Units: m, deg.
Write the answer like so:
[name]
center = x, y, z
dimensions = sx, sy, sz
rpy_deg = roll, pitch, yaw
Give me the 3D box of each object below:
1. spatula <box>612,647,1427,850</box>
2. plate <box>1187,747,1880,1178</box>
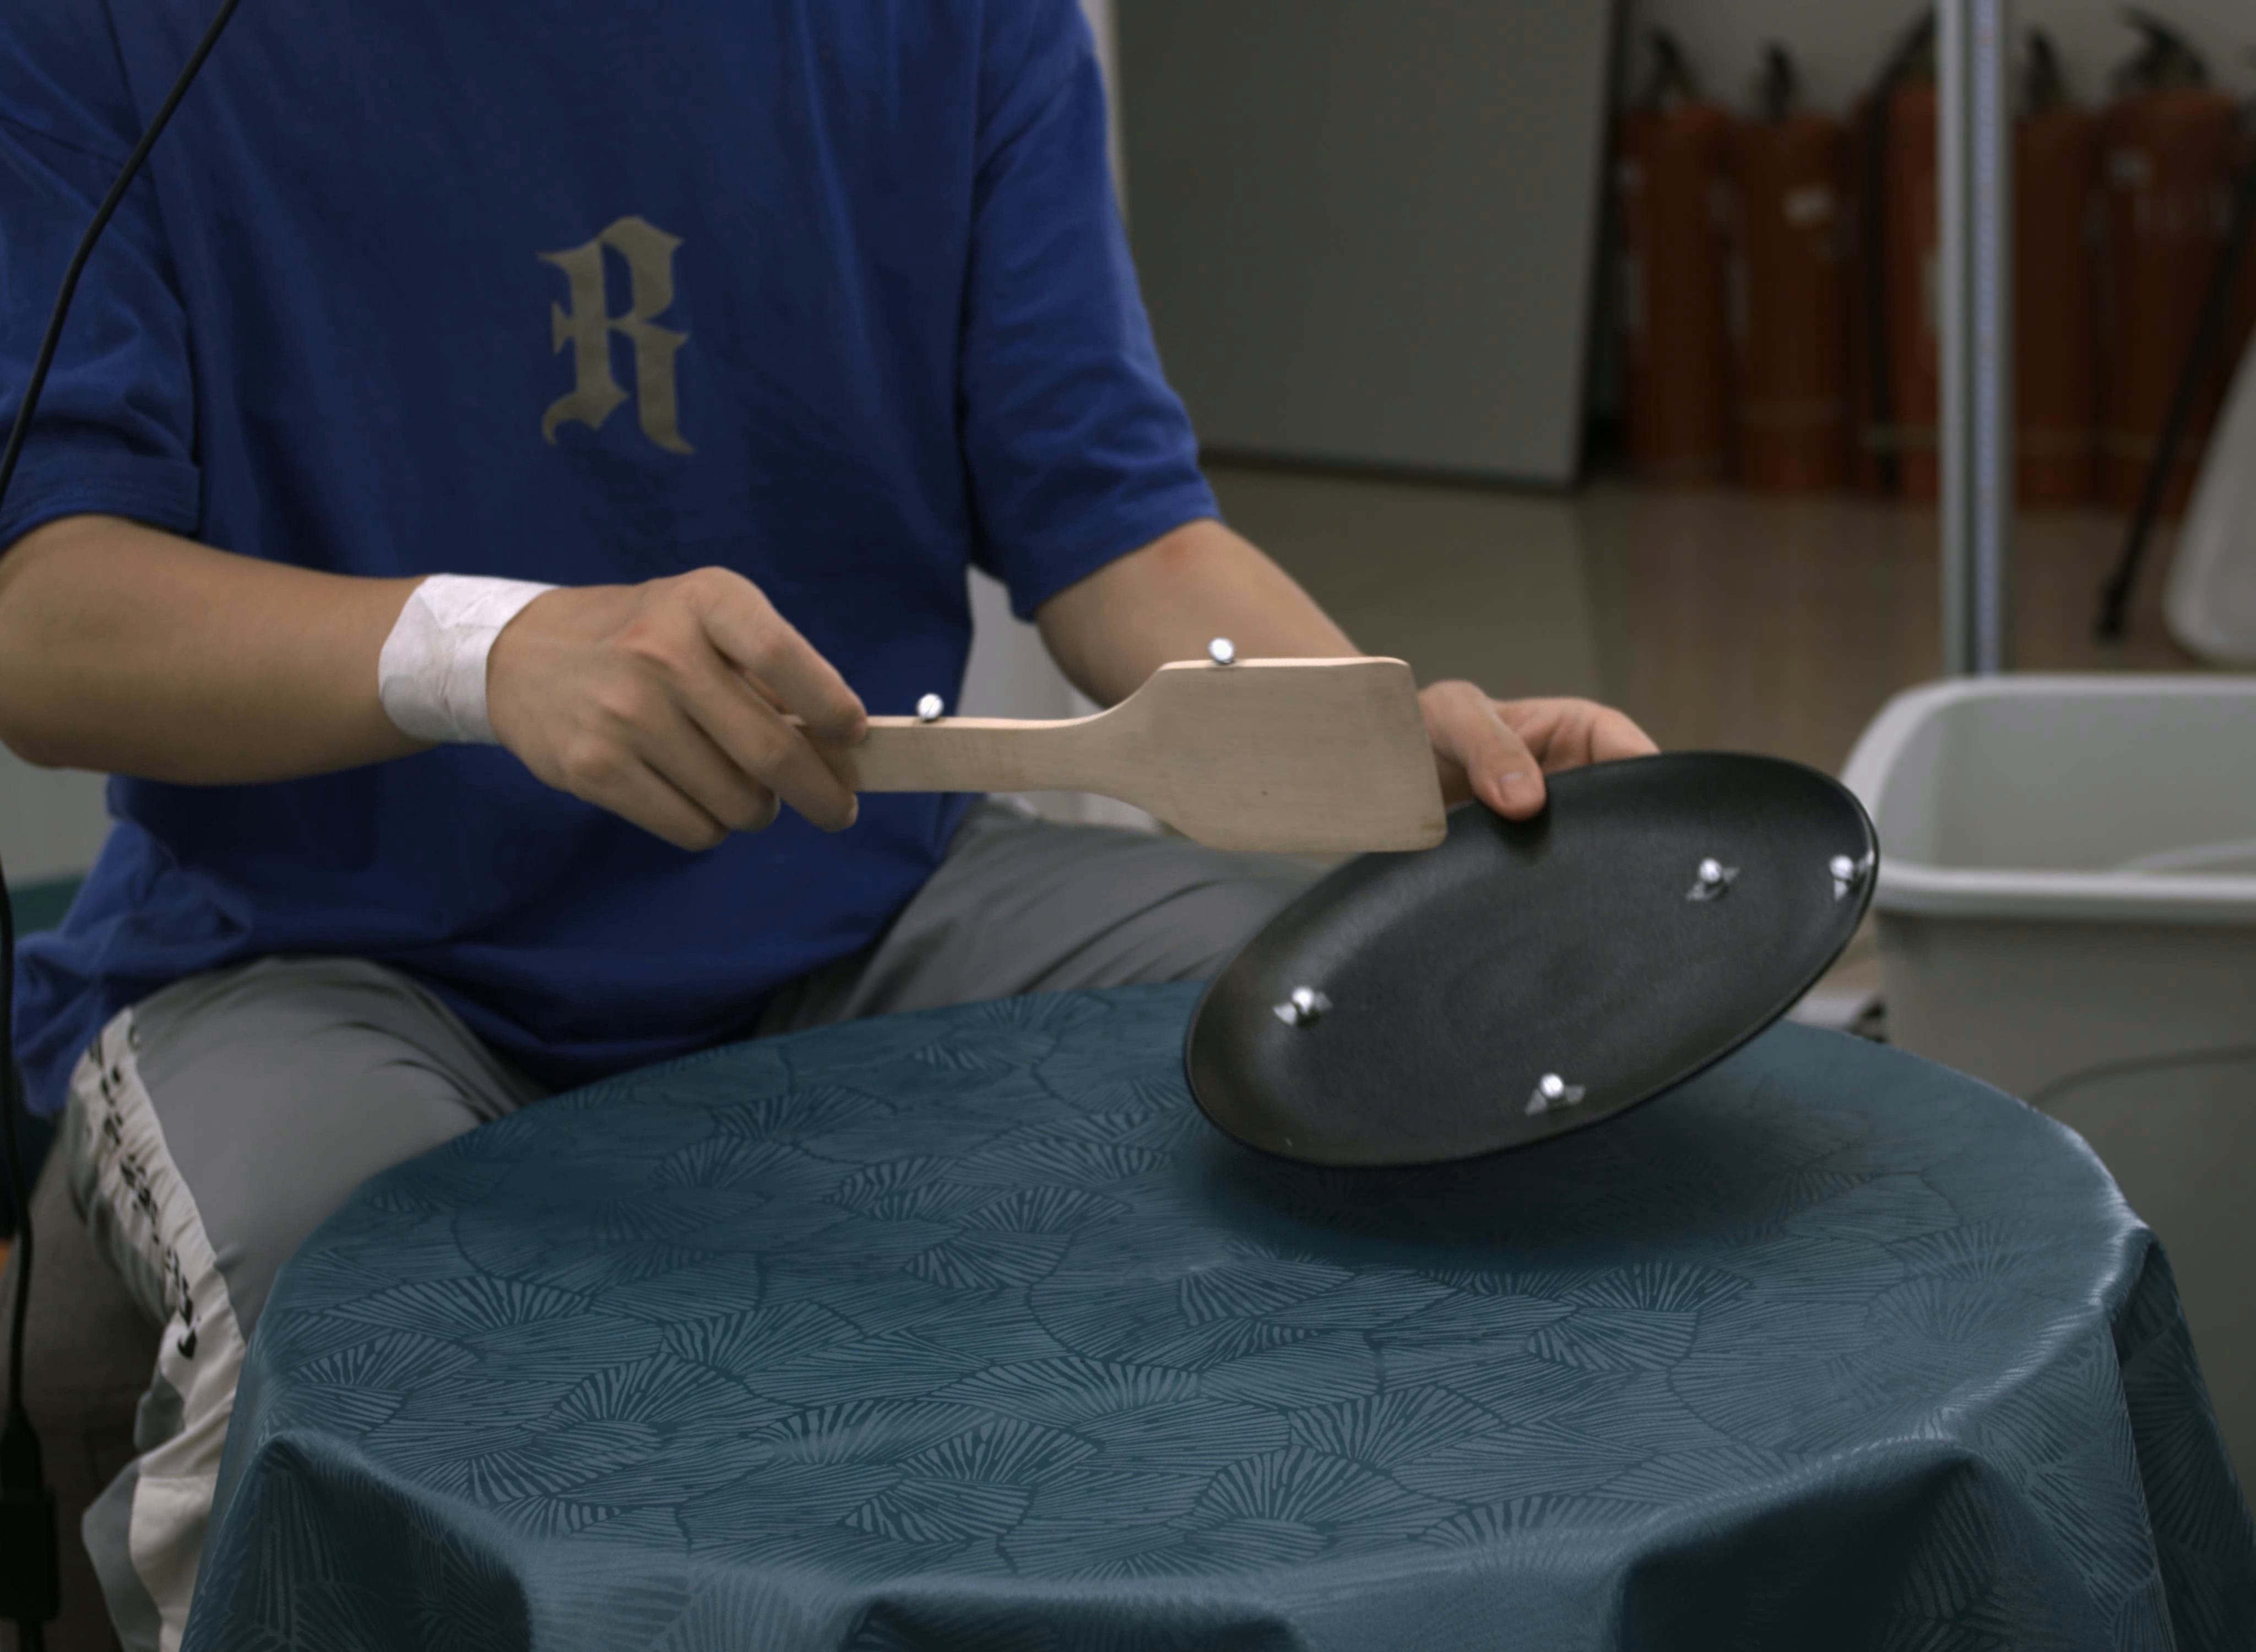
[spatula]
center = -0.042, -0.025, 1.742
dimensions = 0.294, 0.072, 0.010
rpy_deg = 0, 32, 28
[plate]
center = 0.134, 0.050, 1.769
dimensions = 0.243, 0.023, 0.245
rpy_deg = -21, 25, 9
